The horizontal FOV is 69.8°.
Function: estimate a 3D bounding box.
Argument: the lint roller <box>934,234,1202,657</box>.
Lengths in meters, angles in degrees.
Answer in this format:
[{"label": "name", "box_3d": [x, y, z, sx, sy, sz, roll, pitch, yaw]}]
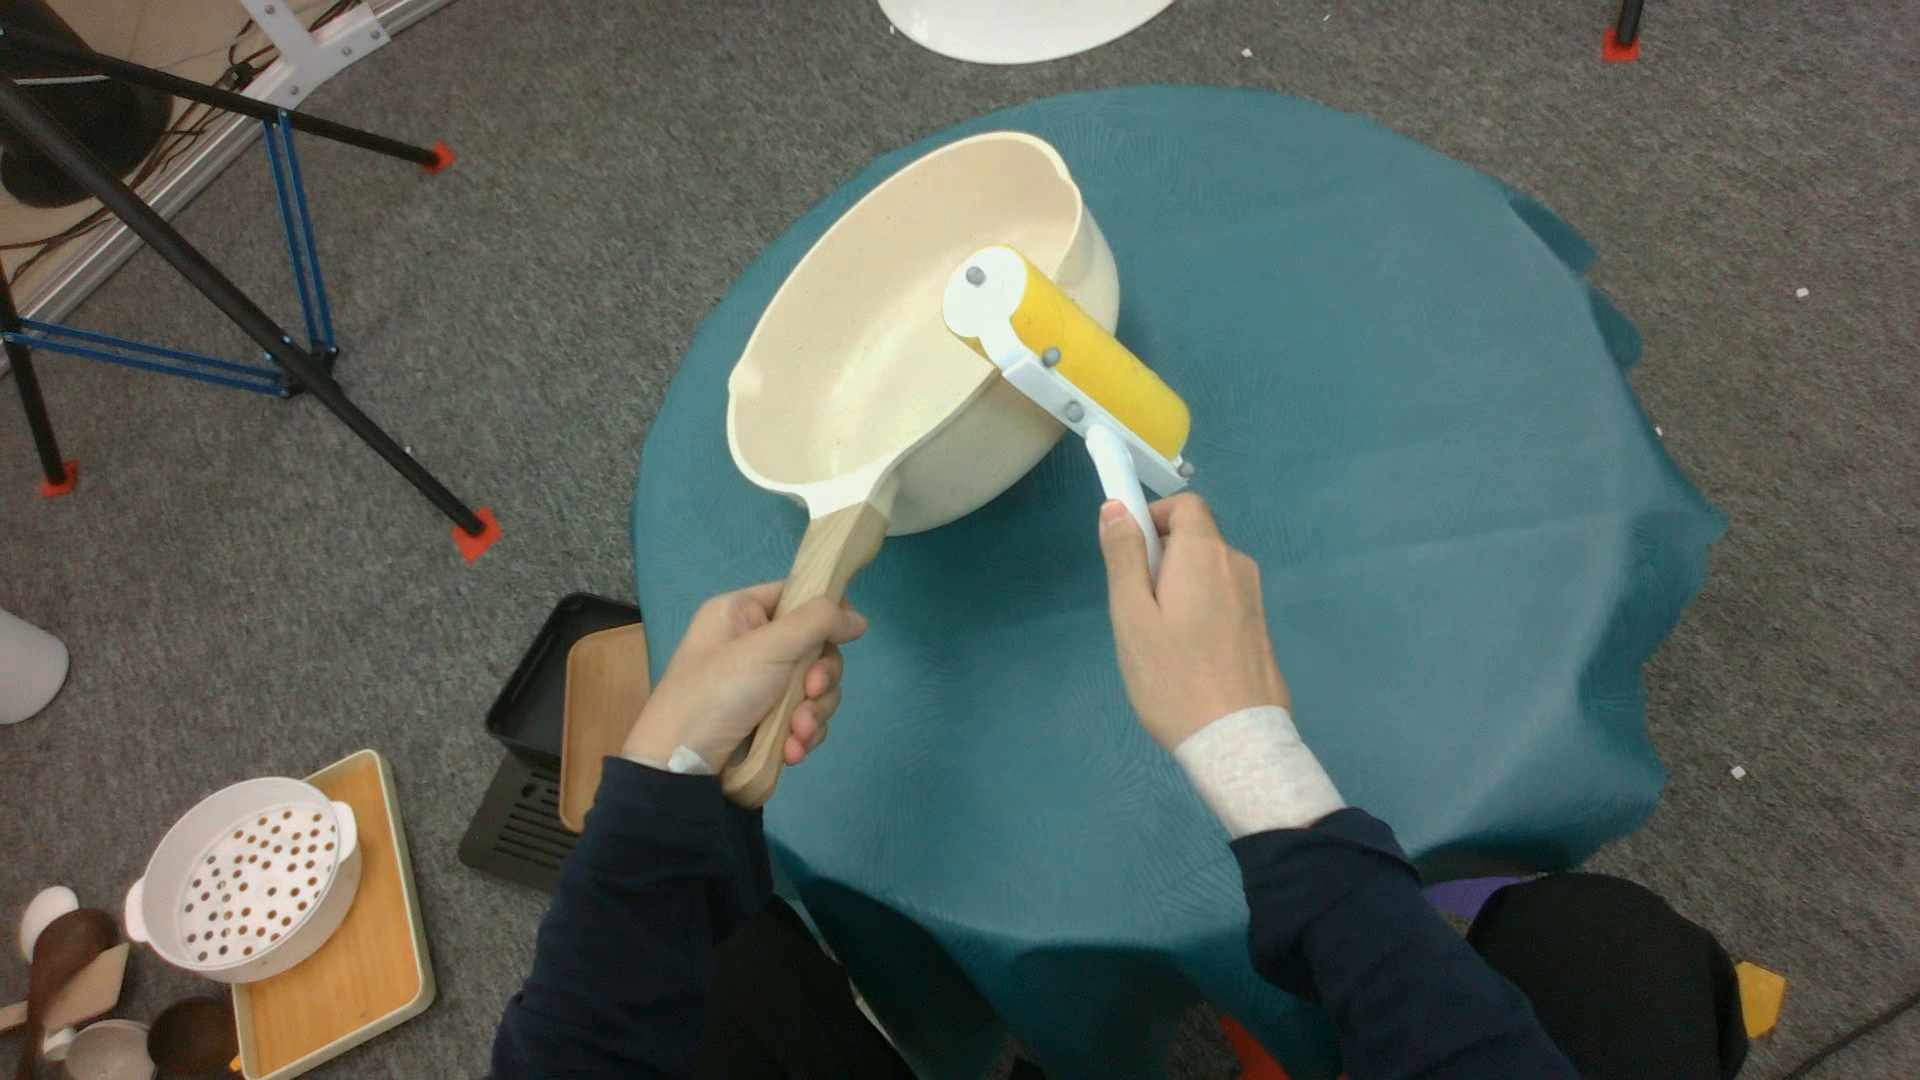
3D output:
[{"label": "lint roller", "box_3d": [0.077, -0.036, 0.633, 0.051, 0.174, 0.192, -39, 54, 18]}]

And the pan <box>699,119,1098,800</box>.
[{"label": "pan", "box_3d": [-0.047, -0.048, 0.742, 0.262, 0.102, 0.437, -16, 49, 32]}]
